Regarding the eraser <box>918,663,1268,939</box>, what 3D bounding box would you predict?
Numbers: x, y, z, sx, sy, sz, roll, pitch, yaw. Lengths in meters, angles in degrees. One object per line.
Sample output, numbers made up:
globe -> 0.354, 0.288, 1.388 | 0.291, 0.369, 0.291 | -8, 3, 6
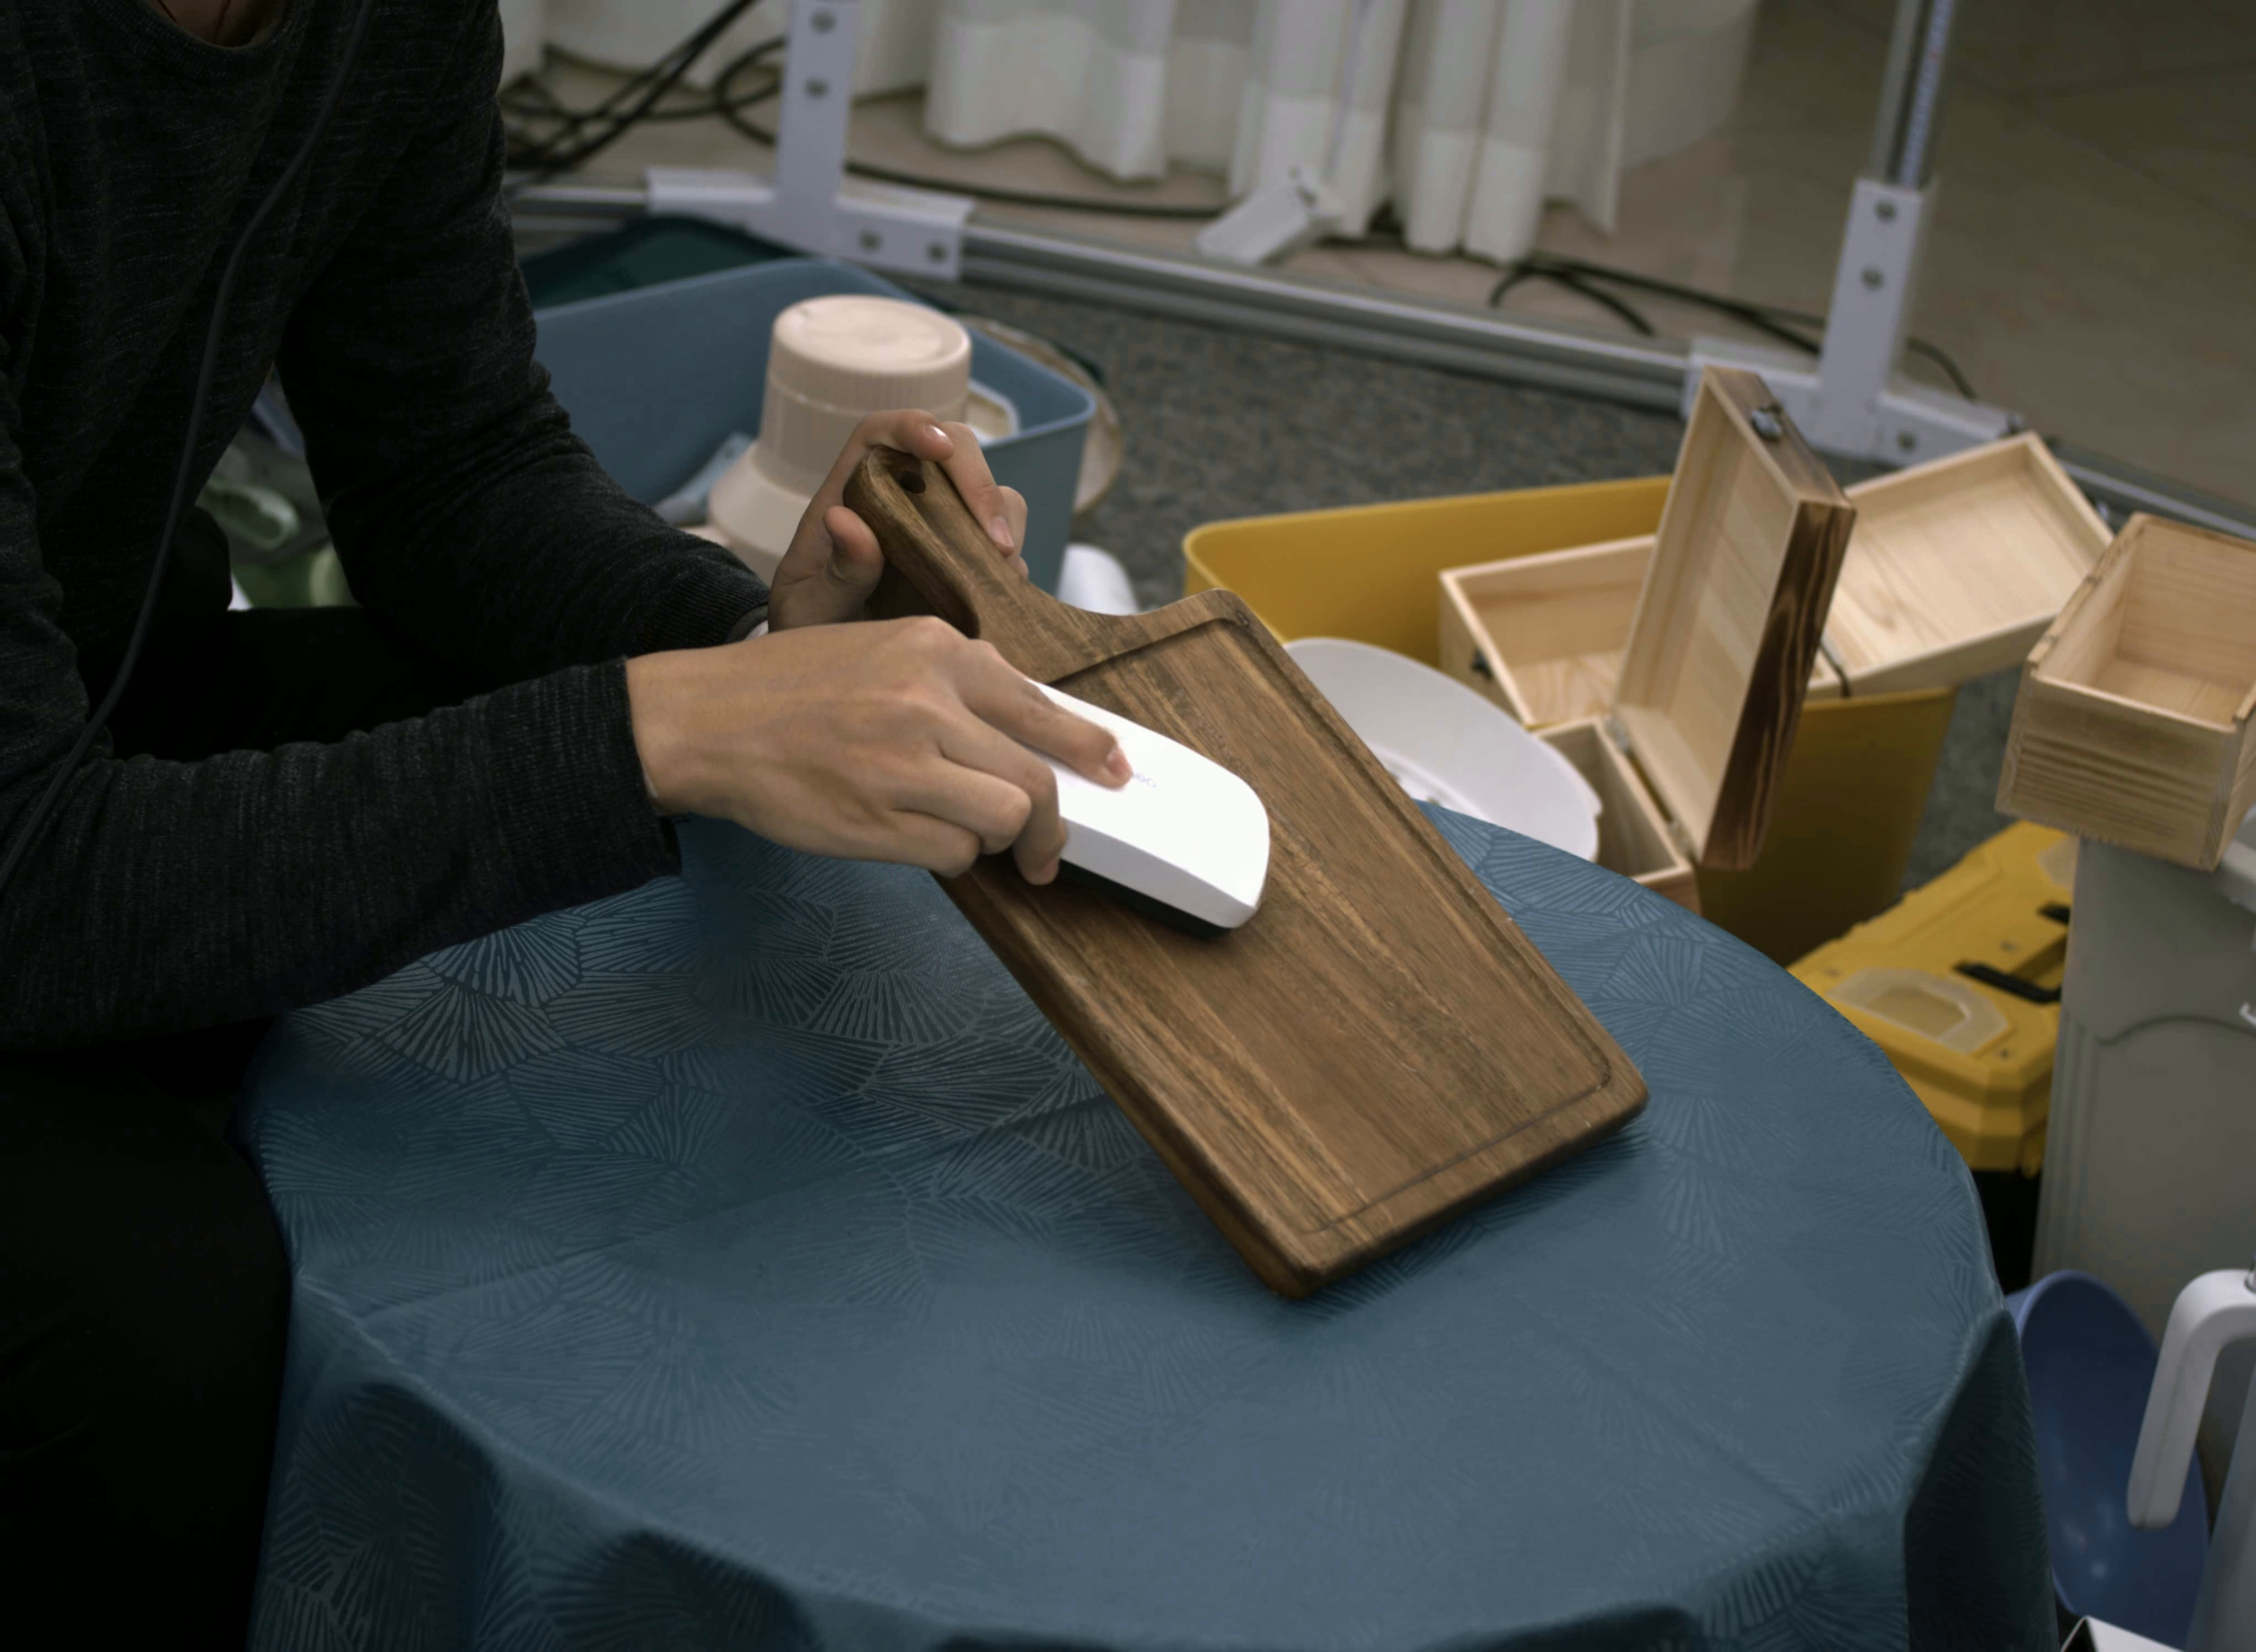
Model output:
eraser -> -0.011, -0.010, 1.812 | 0.130, 0.034, 0.064 | 25, 40, -22

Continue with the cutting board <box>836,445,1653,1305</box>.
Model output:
cutting board -> 0.014, -0.002, 1.859 | 0.200, 0.023, 0.354 | -23, 65, -43
